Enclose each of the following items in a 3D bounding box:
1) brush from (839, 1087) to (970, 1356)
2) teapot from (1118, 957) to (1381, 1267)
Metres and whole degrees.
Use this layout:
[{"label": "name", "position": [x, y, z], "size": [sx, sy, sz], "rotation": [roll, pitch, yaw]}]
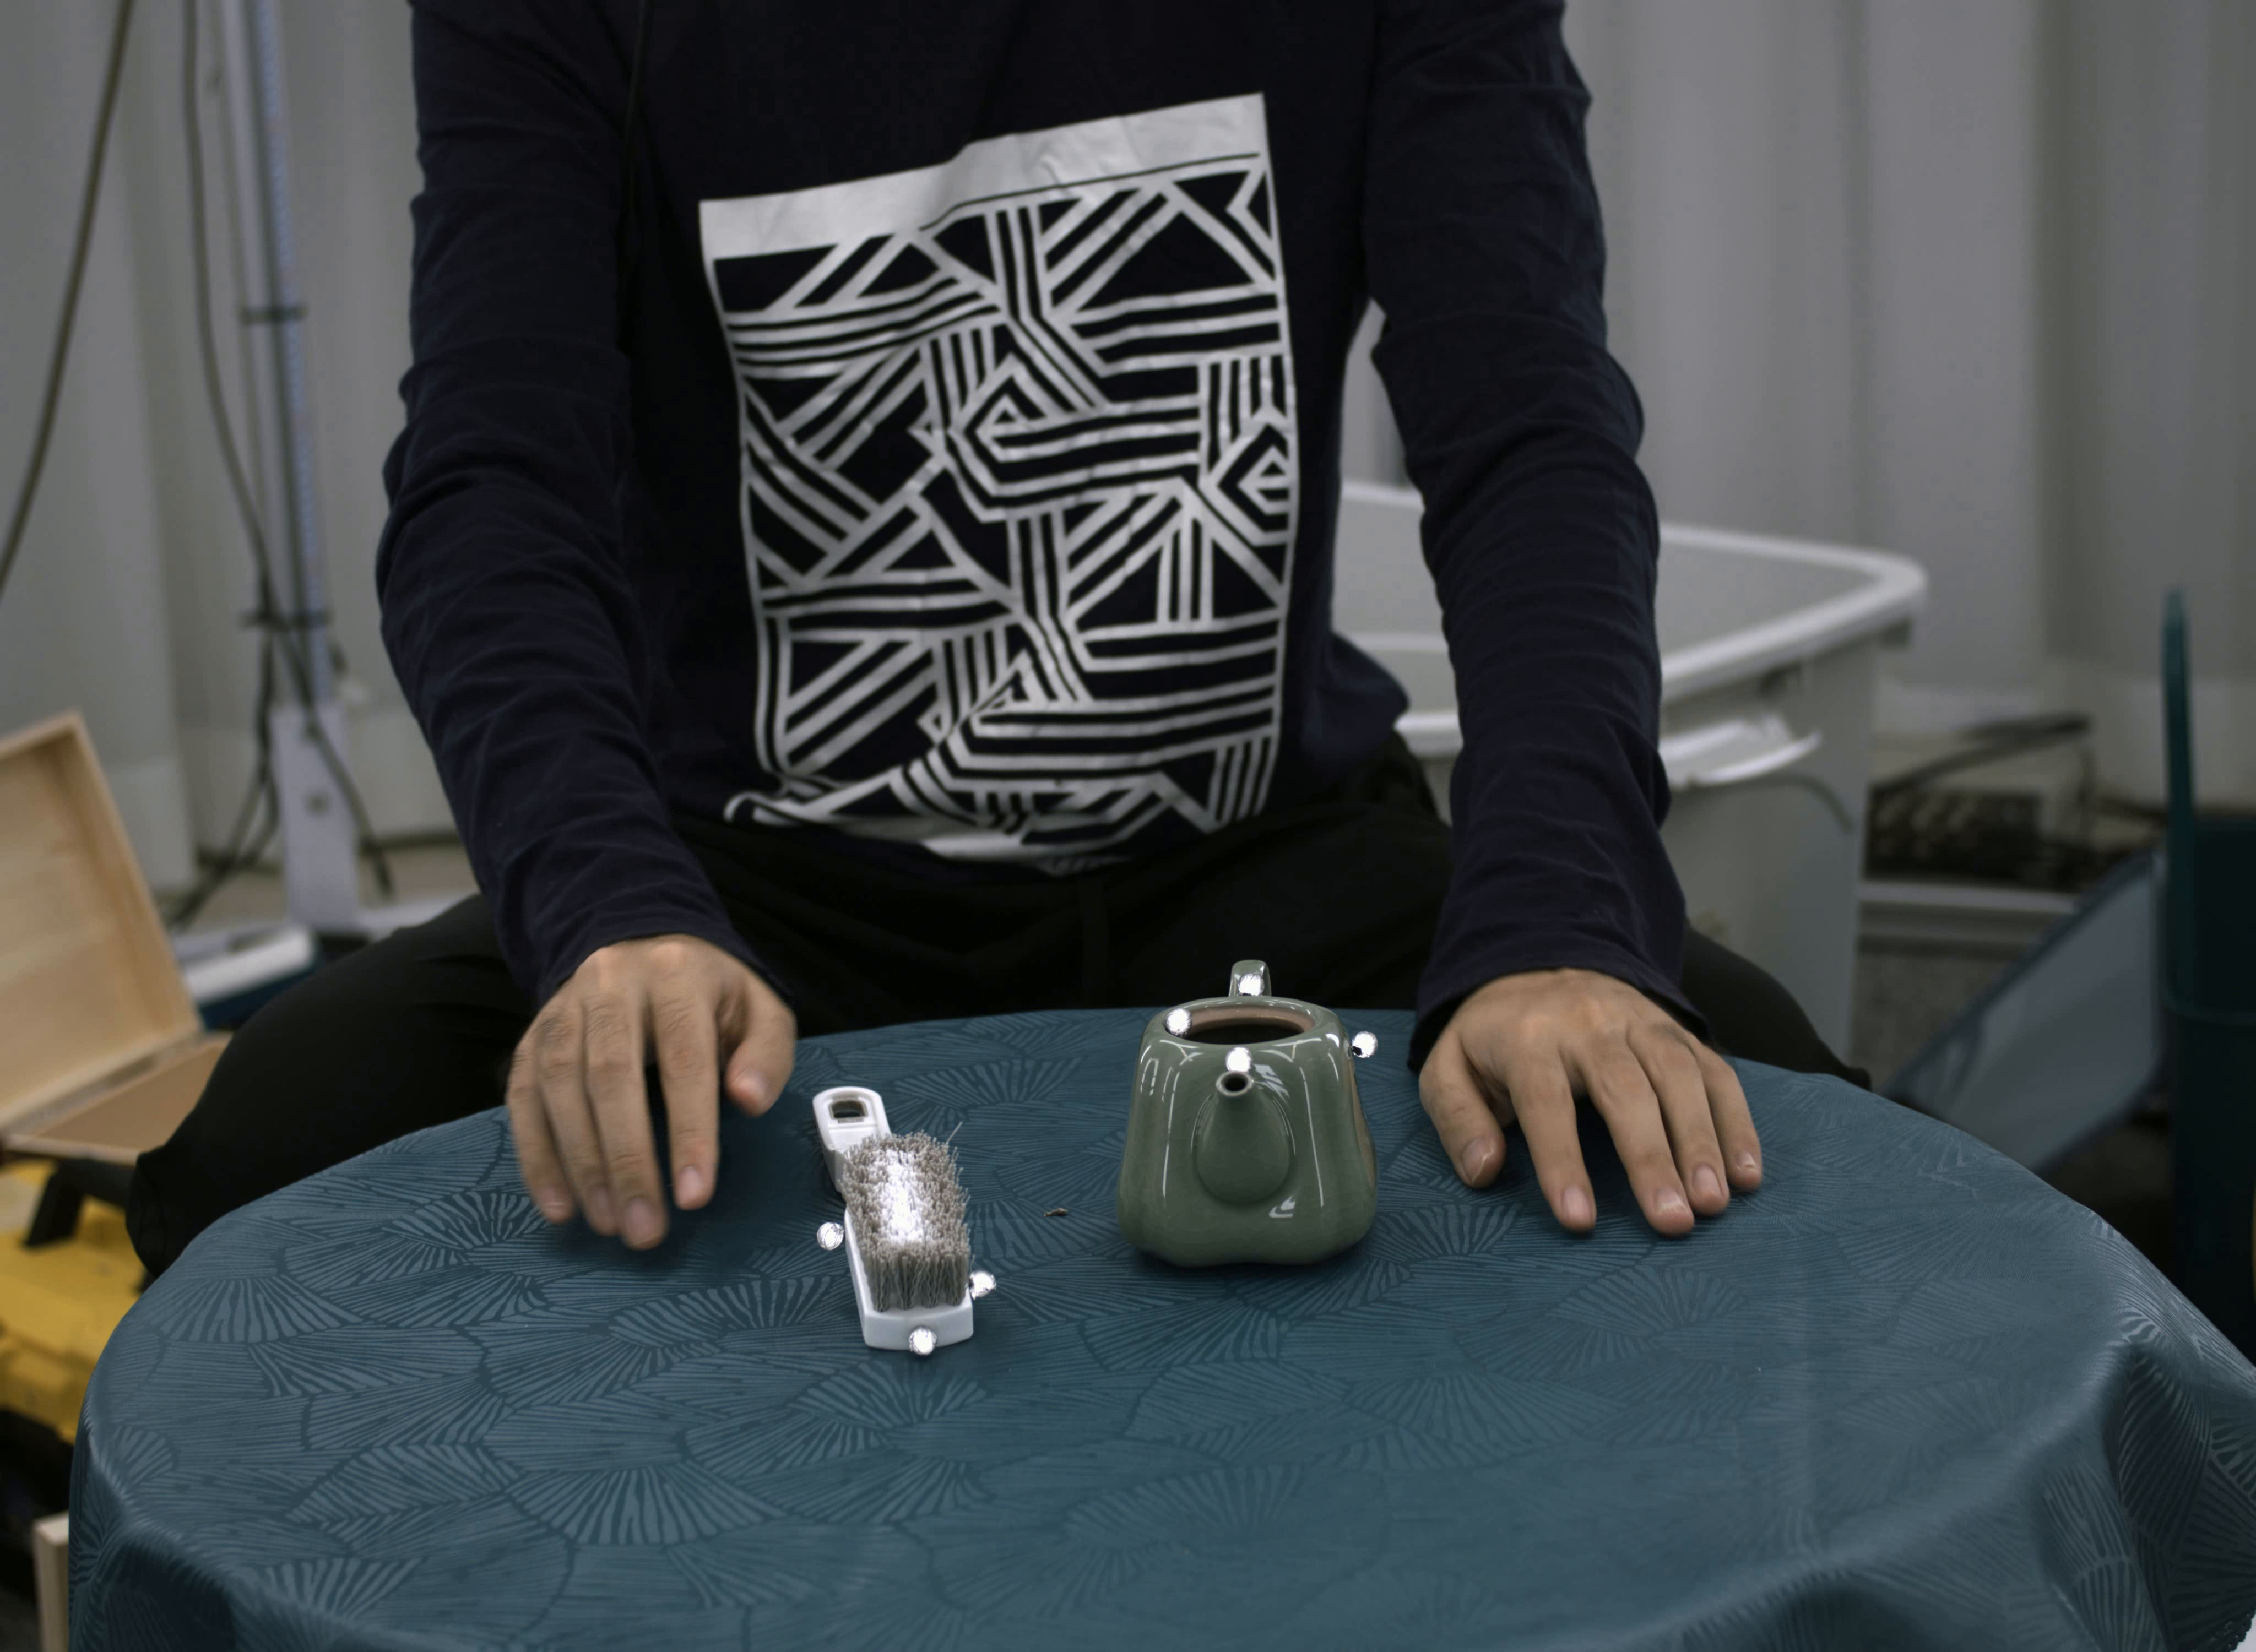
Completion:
[{"label": "brush", "position": [-0.074, 0.102, 1.686], "size": [0.034, 0.050, 0.245], "rotation": [-8, 15, -3]}, {"label": "teapot", "position": [0.036, 0.090, 1.658], "size": [0.079, 0.075, 0.133], "rotation": [-2, 14, 3]}]
